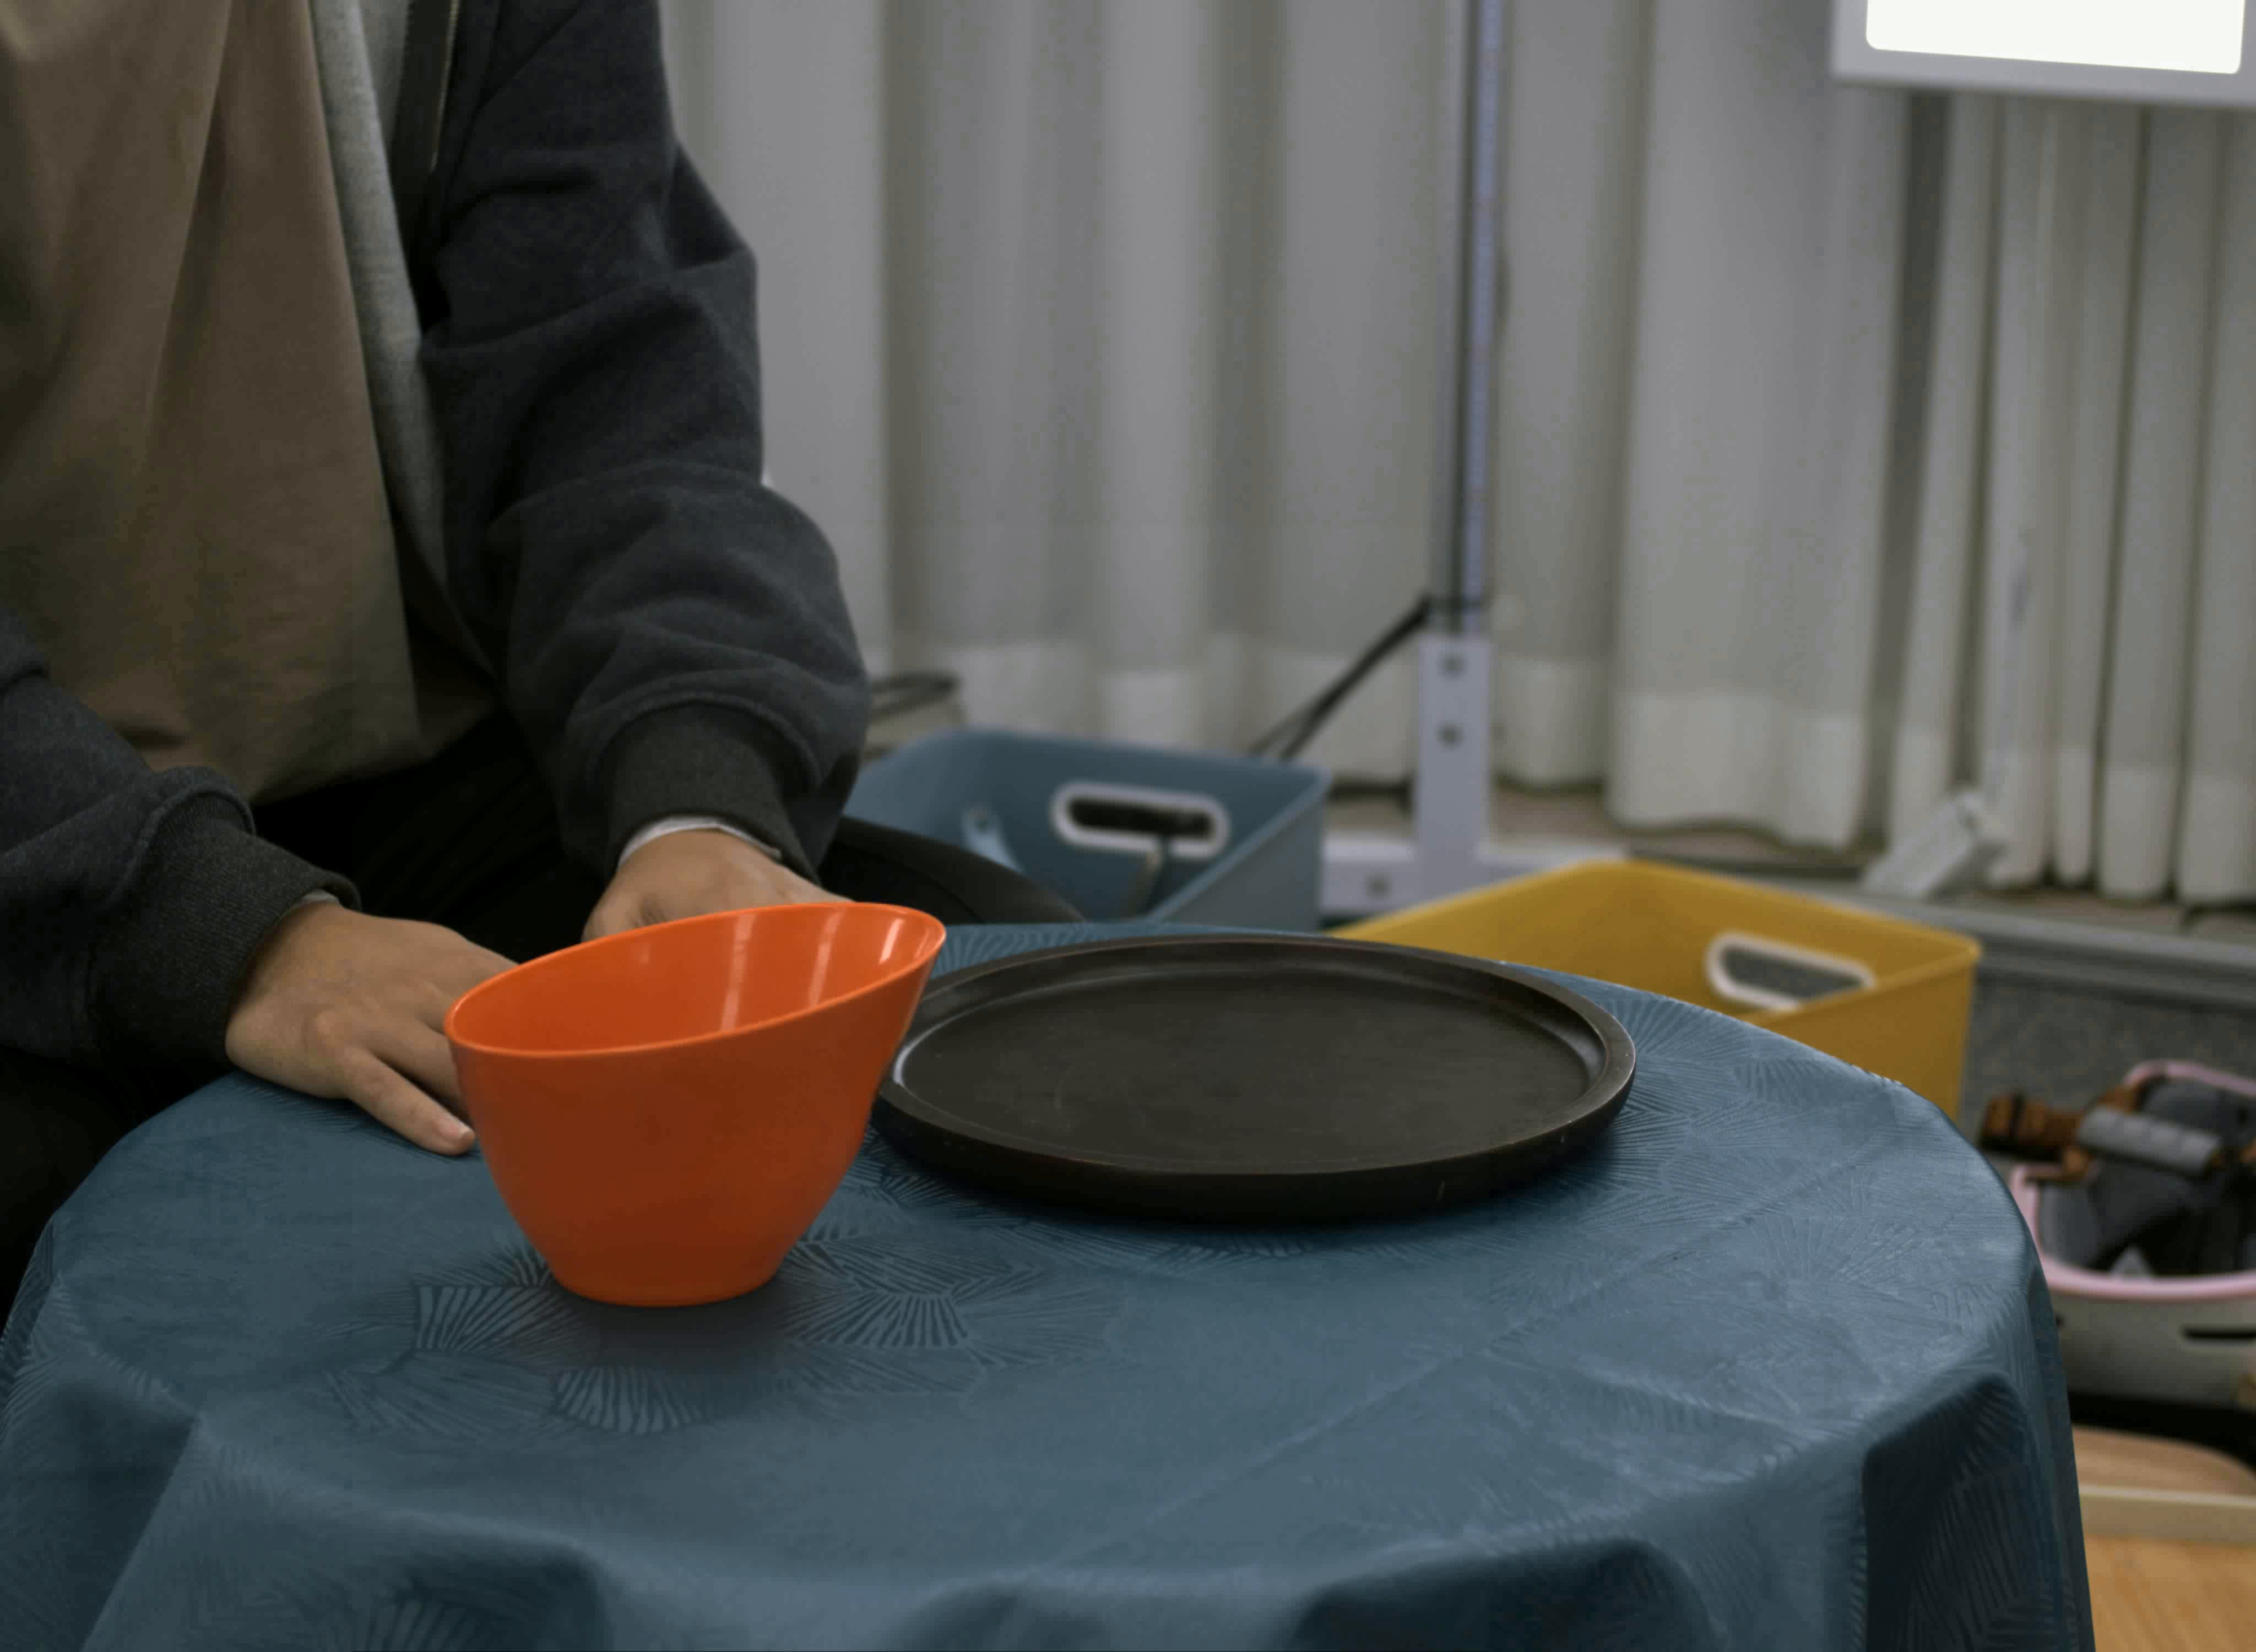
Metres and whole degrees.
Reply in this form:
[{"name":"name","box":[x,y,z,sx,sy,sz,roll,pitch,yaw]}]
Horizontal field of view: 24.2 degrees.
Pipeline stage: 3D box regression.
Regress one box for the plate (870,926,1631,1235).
[{"name":"plate","box":[0.036,0.080,1.697,0.254,0.029,0.253,0,16,1]}]

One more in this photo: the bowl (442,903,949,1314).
[{"name":"bowl","box":[-0.125,0.083,1.534,0.147,0.105,0.147,0,17,0]}]
